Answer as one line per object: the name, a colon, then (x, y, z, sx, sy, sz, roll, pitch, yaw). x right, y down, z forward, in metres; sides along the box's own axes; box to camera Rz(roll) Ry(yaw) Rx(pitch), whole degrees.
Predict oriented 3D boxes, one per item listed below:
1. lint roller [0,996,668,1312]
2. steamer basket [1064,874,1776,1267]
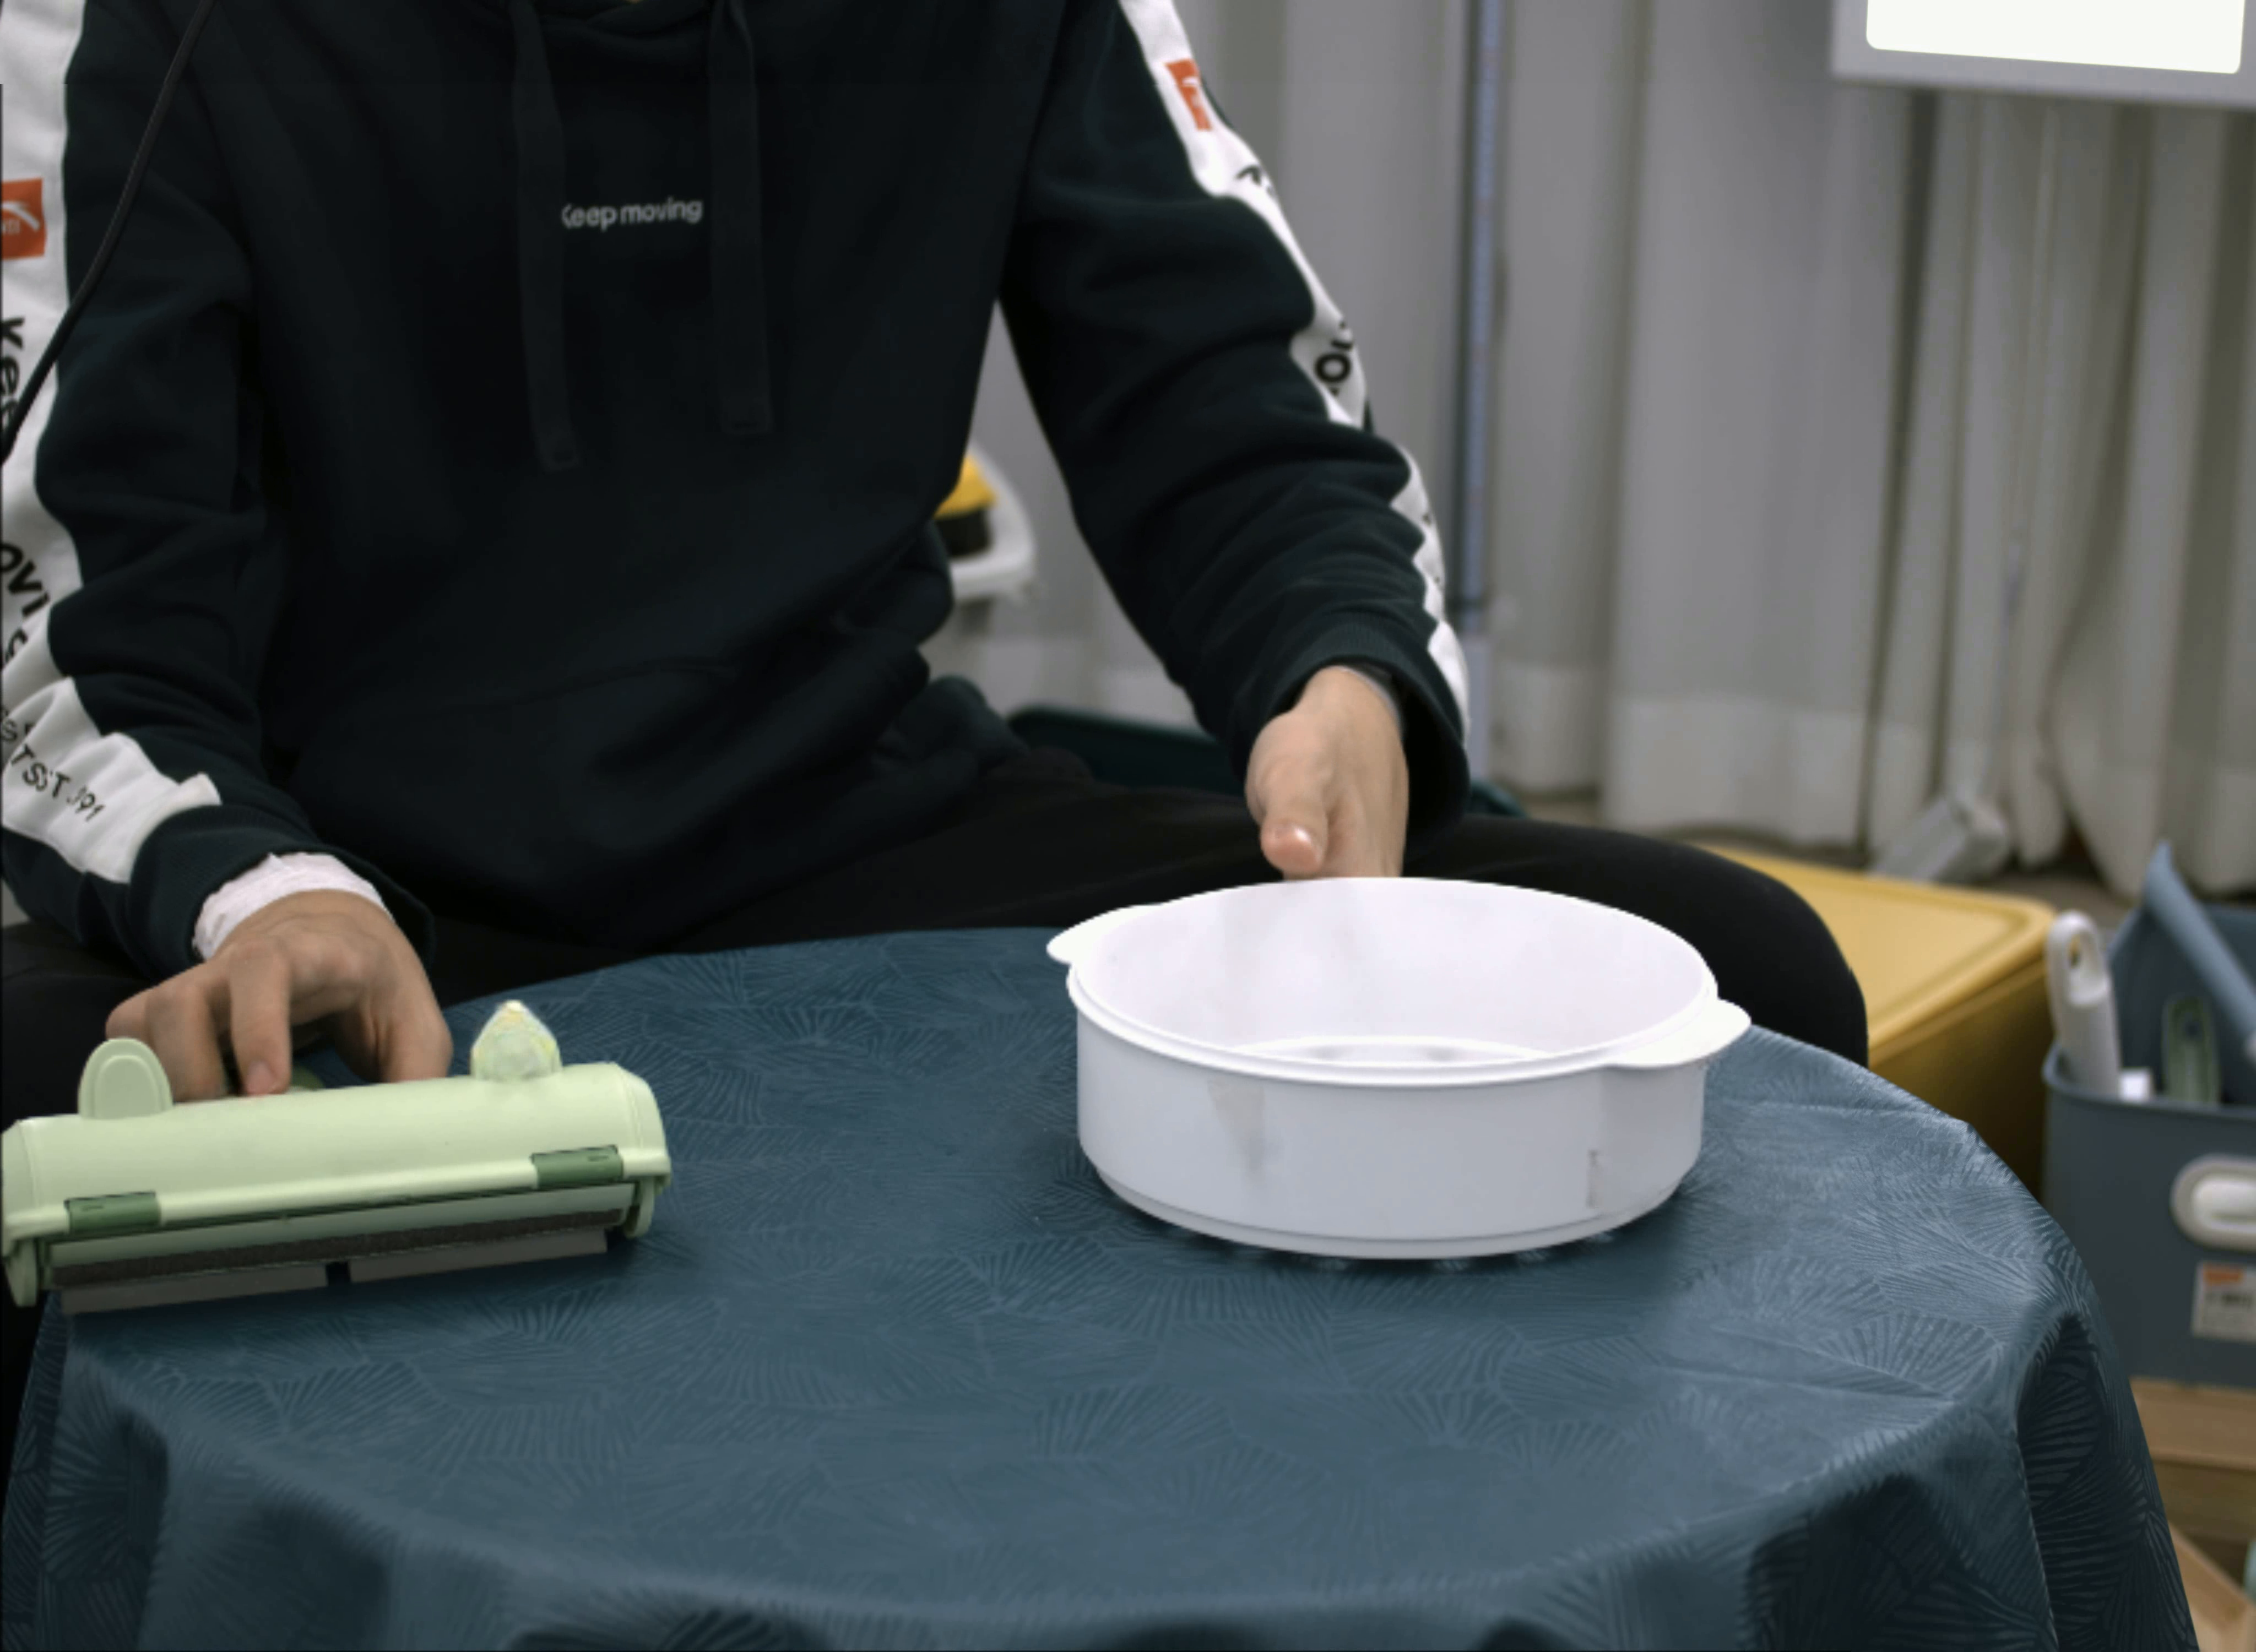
lint roller: (-0.253, 0.079, 1.584, 0.199, 0.083, 0.181, -5, 21, -19)
steamer basket: (0.087, 0.075, 1.627, 0.228, 0.070, 0.202, 11, 20, 29)
